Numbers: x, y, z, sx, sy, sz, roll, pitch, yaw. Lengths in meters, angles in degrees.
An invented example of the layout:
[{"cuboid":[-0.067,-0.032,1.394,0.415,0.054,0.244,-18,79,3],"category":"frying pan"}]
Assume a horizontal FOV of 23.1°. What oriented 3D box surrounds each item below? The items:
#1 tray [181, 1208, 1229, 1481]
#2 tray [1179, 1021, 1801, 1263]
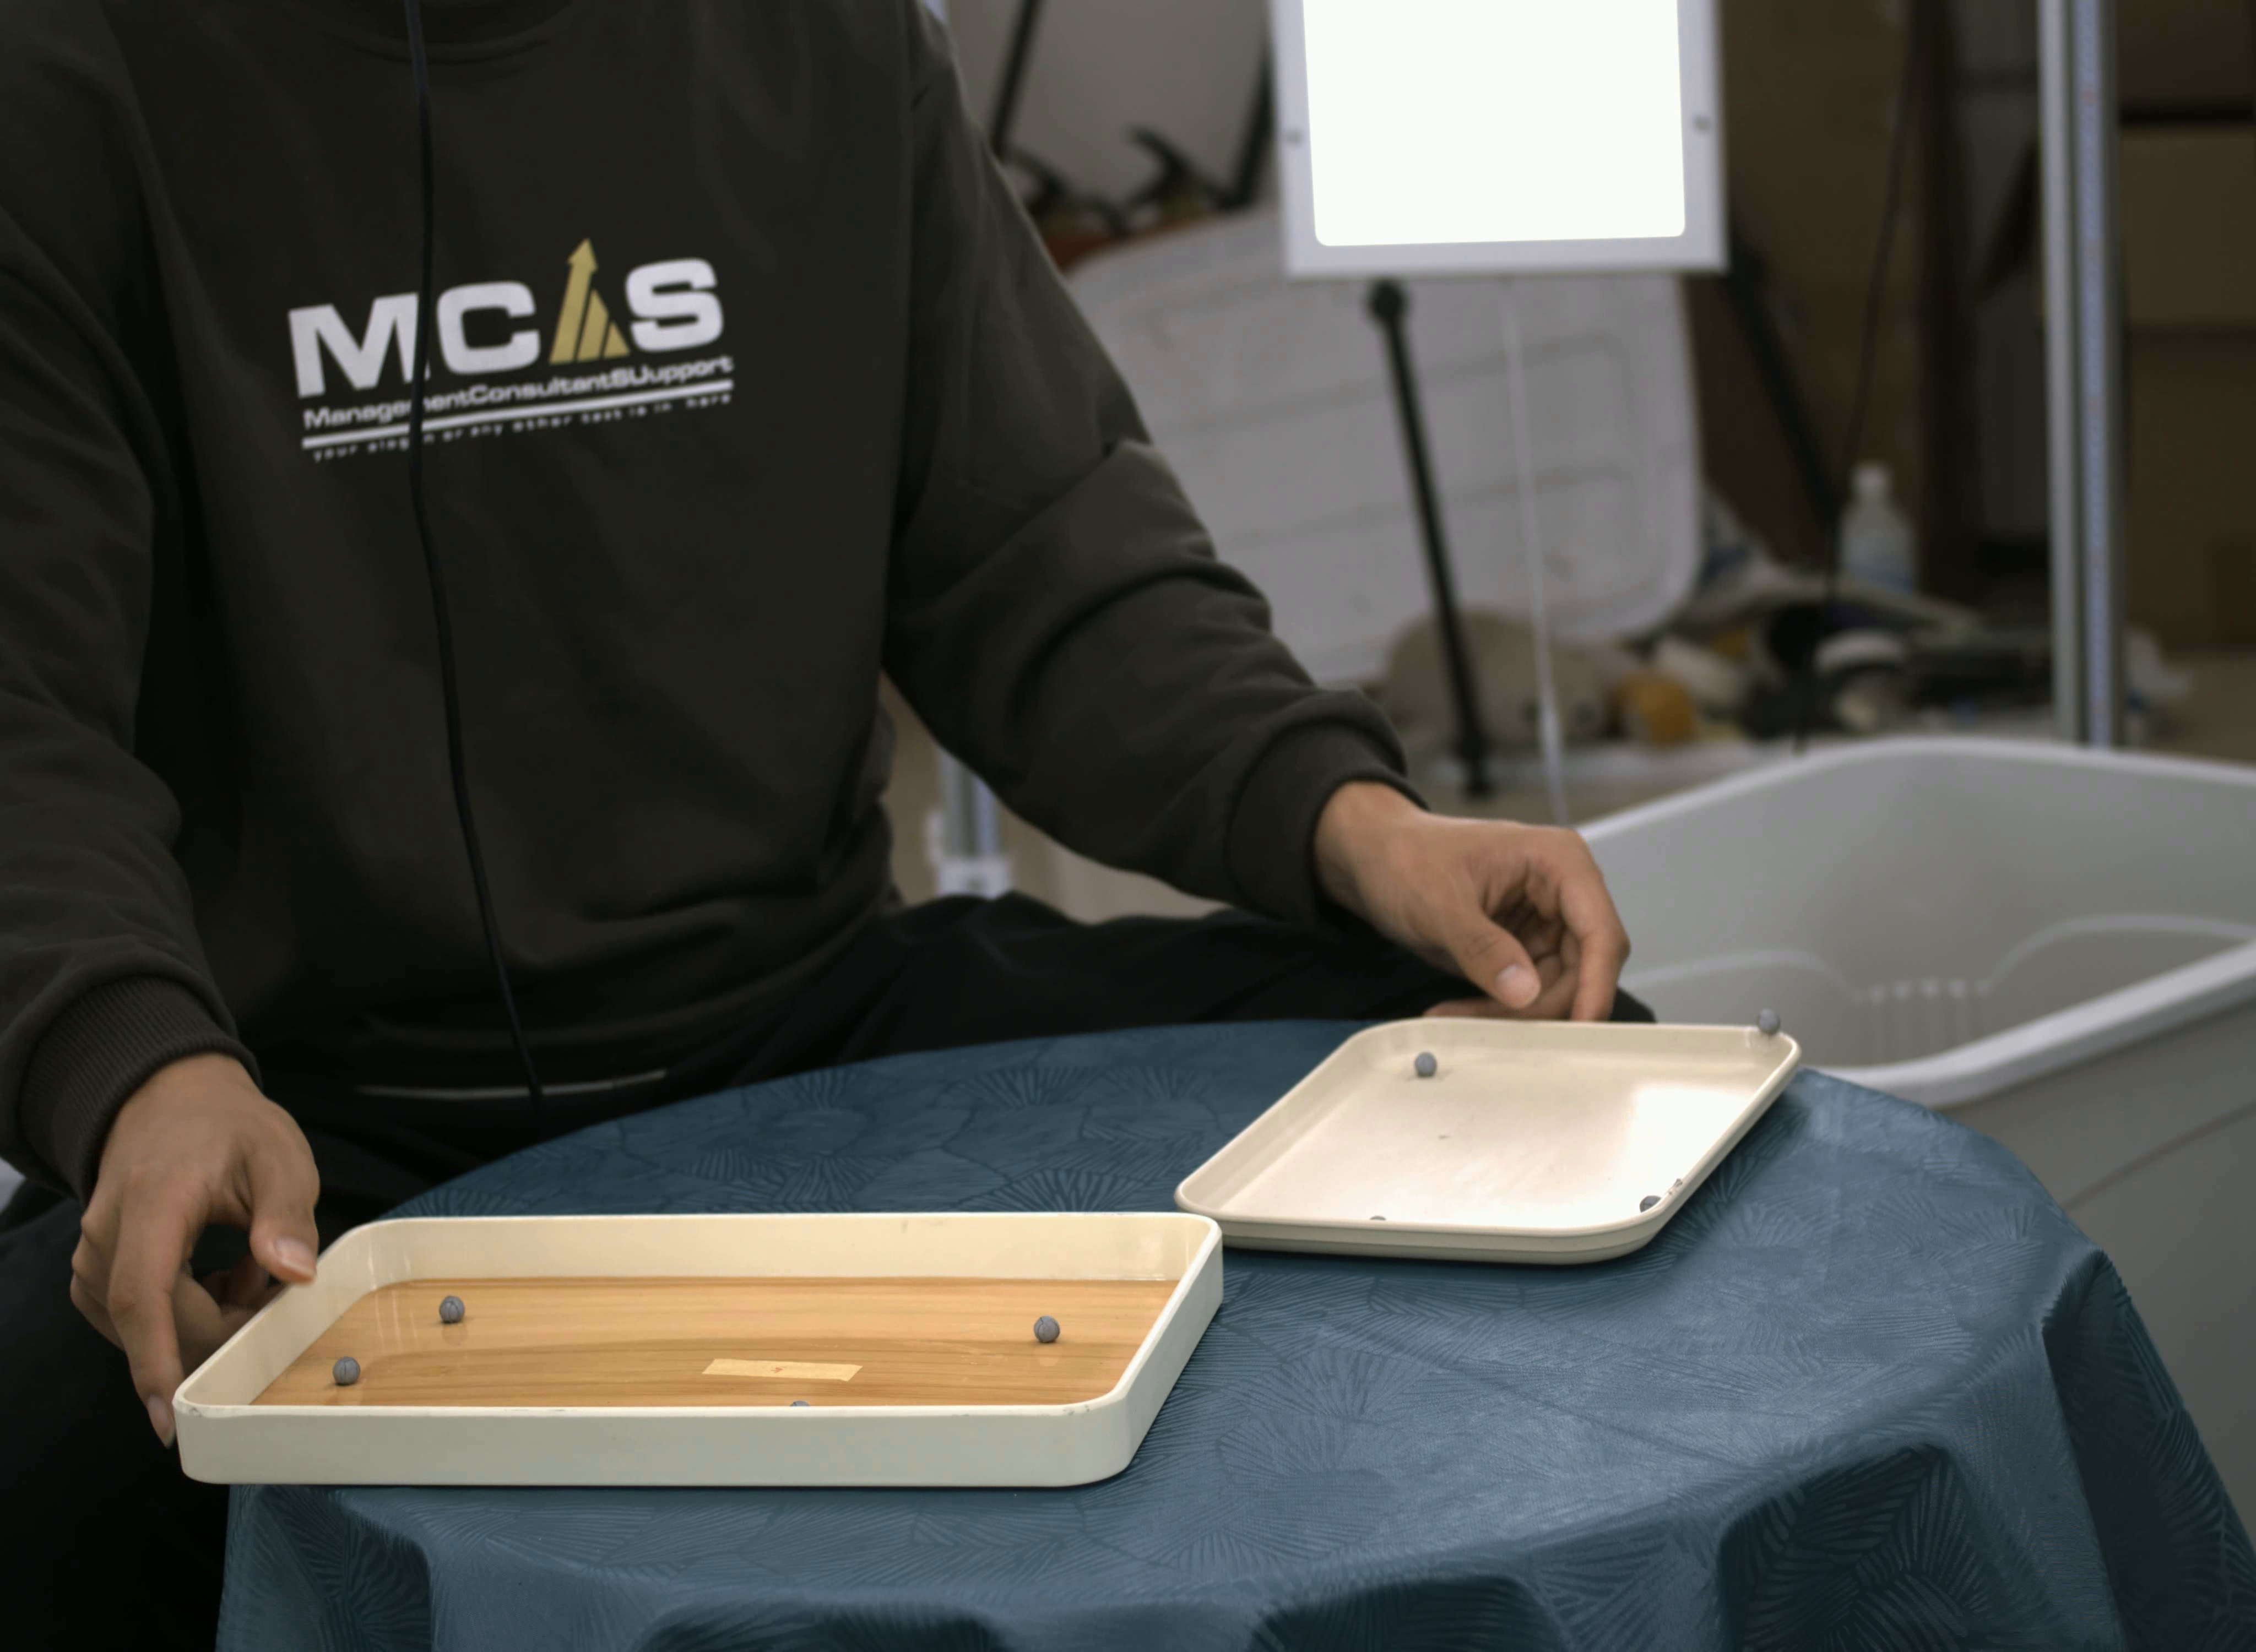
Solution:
[{"cuboid":[-0.128,0.163,1.738,0.303,0.027,0.189,-2,14,14],"category":"tray"},{"cuboid":[0.129,0.108,1.894,0.174,0.017,0.235,0,14,23],"category":"tray"}]
